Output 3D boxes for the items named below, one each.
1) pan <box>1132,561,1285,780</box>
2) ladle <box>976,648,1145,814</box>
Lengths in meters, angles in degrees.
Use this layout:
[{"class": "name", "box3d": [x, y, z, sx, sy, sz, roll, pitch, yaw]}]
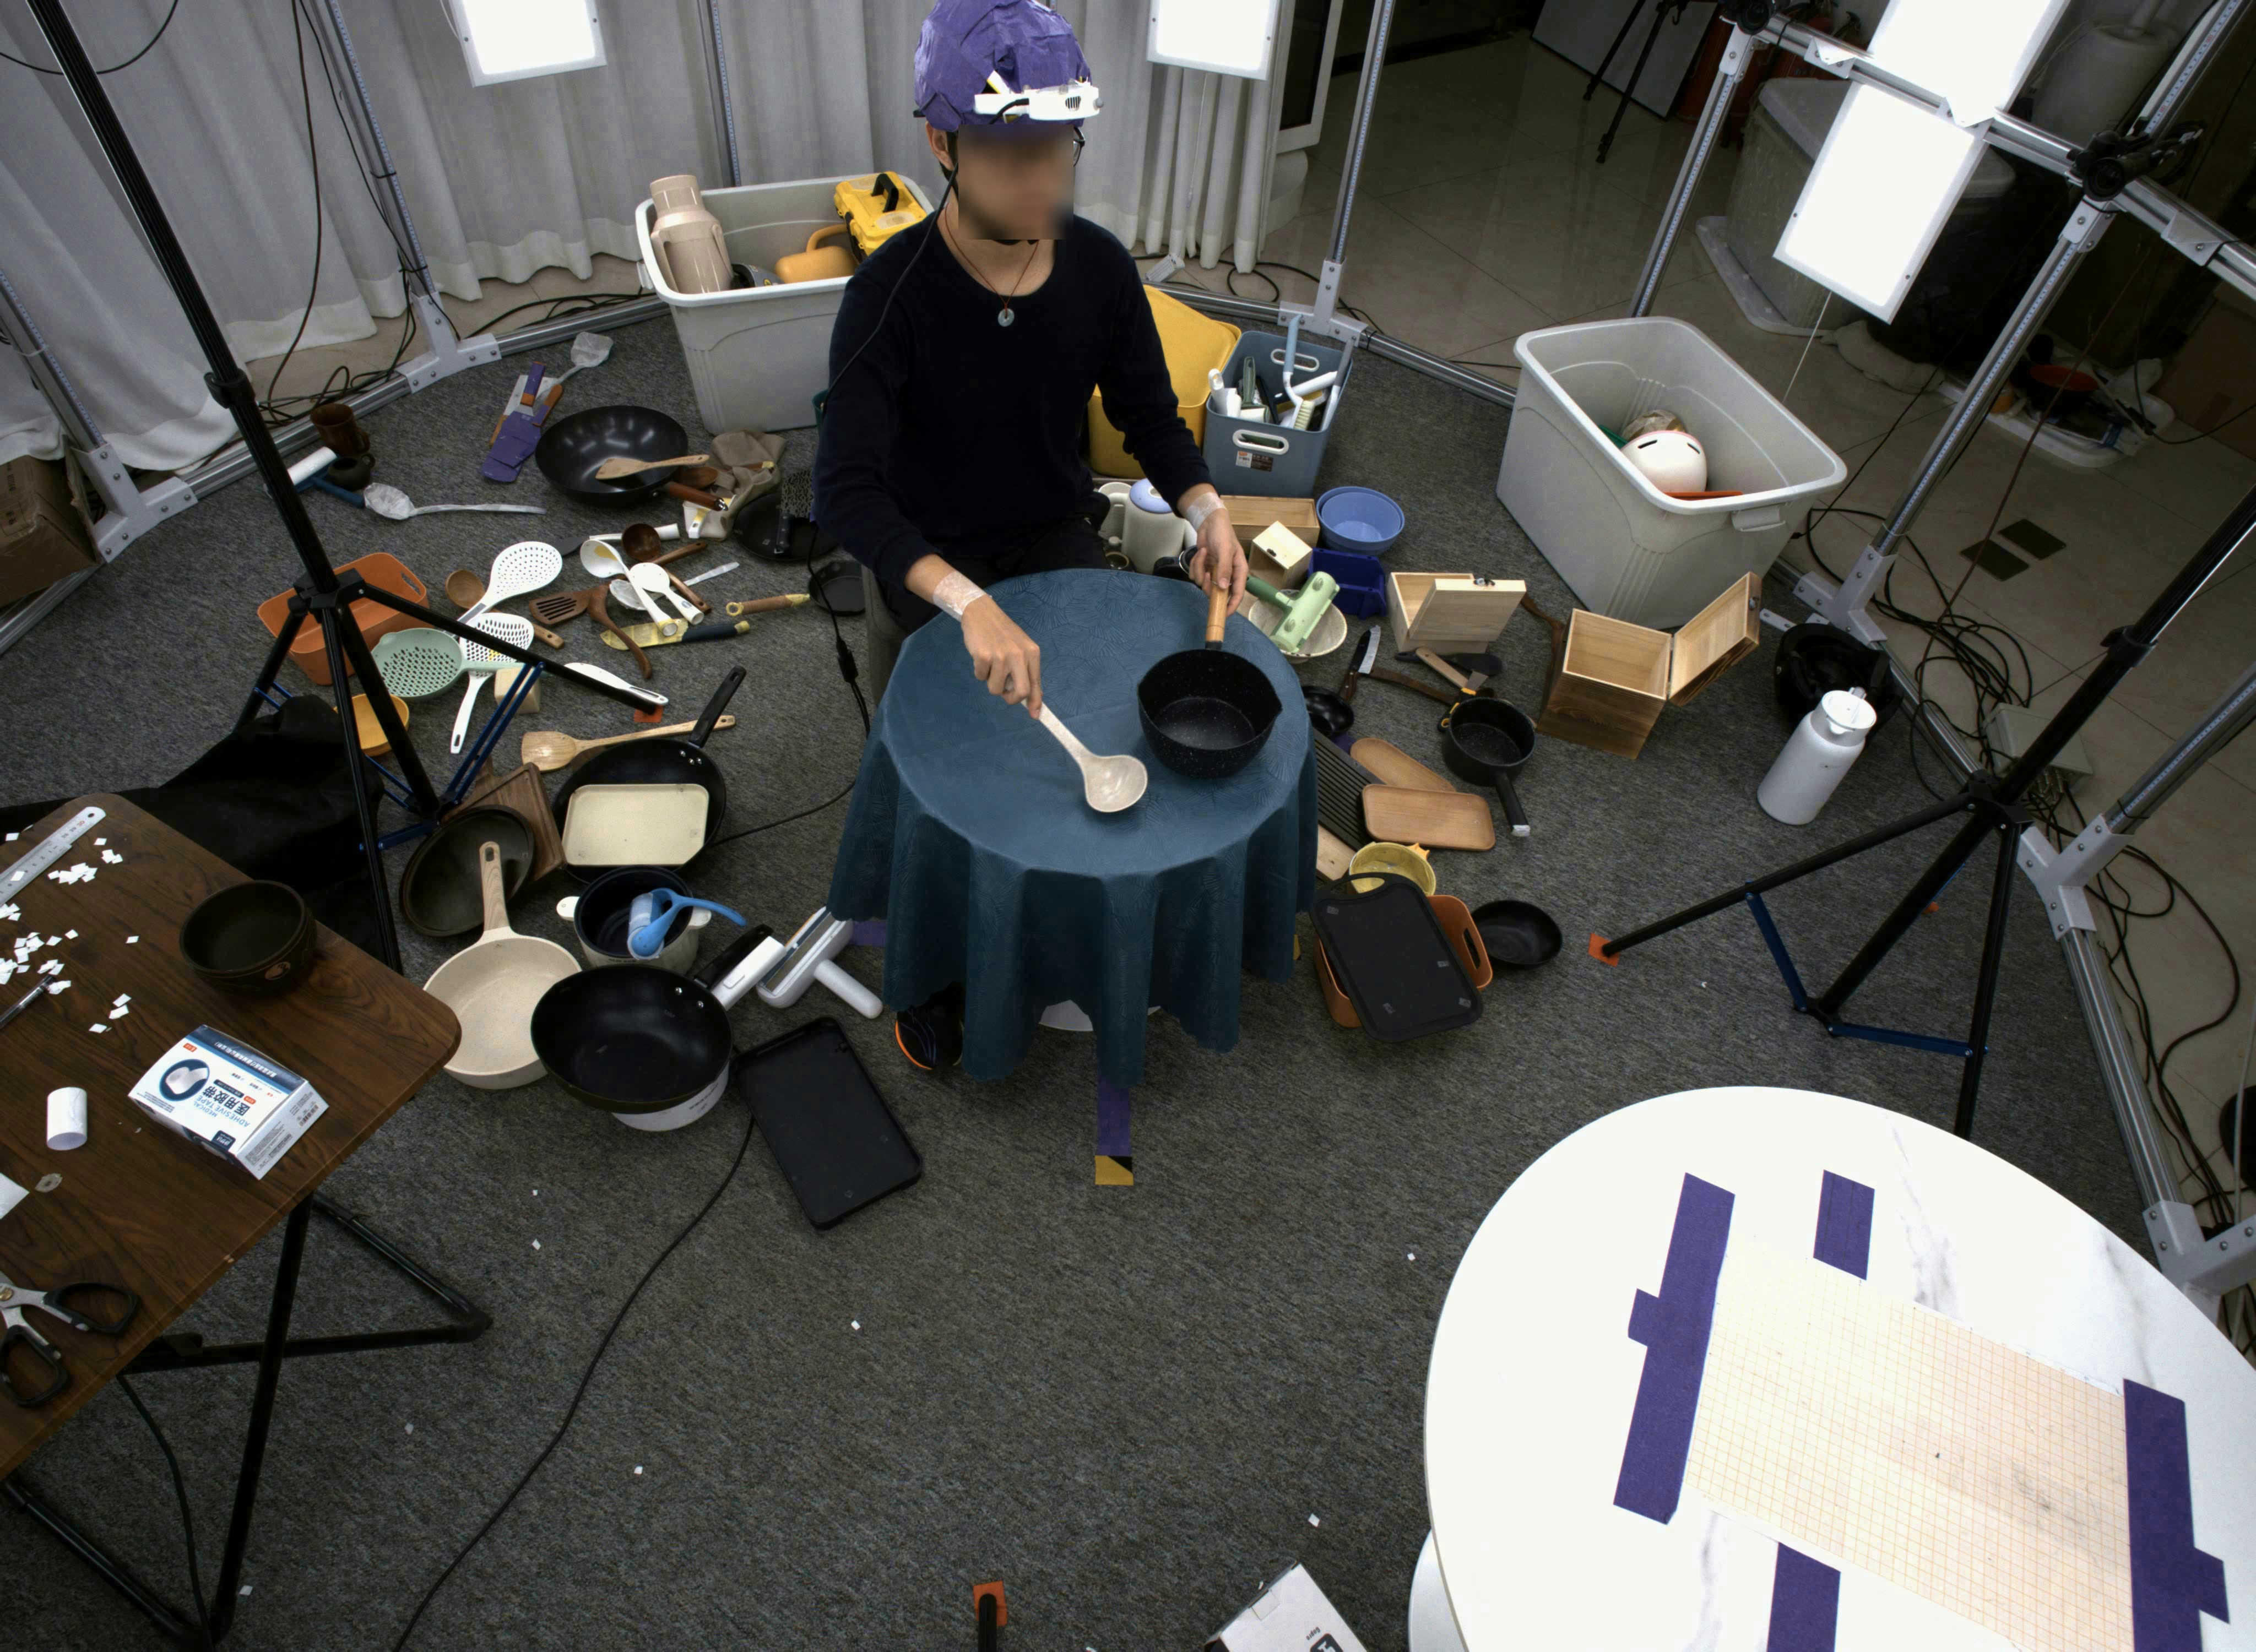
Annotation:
[{"class": "pan", "box3d": [0.114, -0.217, 1.788, 0.207, 0.105, 0.351, 5, 53, 2]}, {"class": "ladle", "box3d": [-0.087, -0.127, 1.638, 0.090, 0.271, 0.070, -49, 21, -17]}]
